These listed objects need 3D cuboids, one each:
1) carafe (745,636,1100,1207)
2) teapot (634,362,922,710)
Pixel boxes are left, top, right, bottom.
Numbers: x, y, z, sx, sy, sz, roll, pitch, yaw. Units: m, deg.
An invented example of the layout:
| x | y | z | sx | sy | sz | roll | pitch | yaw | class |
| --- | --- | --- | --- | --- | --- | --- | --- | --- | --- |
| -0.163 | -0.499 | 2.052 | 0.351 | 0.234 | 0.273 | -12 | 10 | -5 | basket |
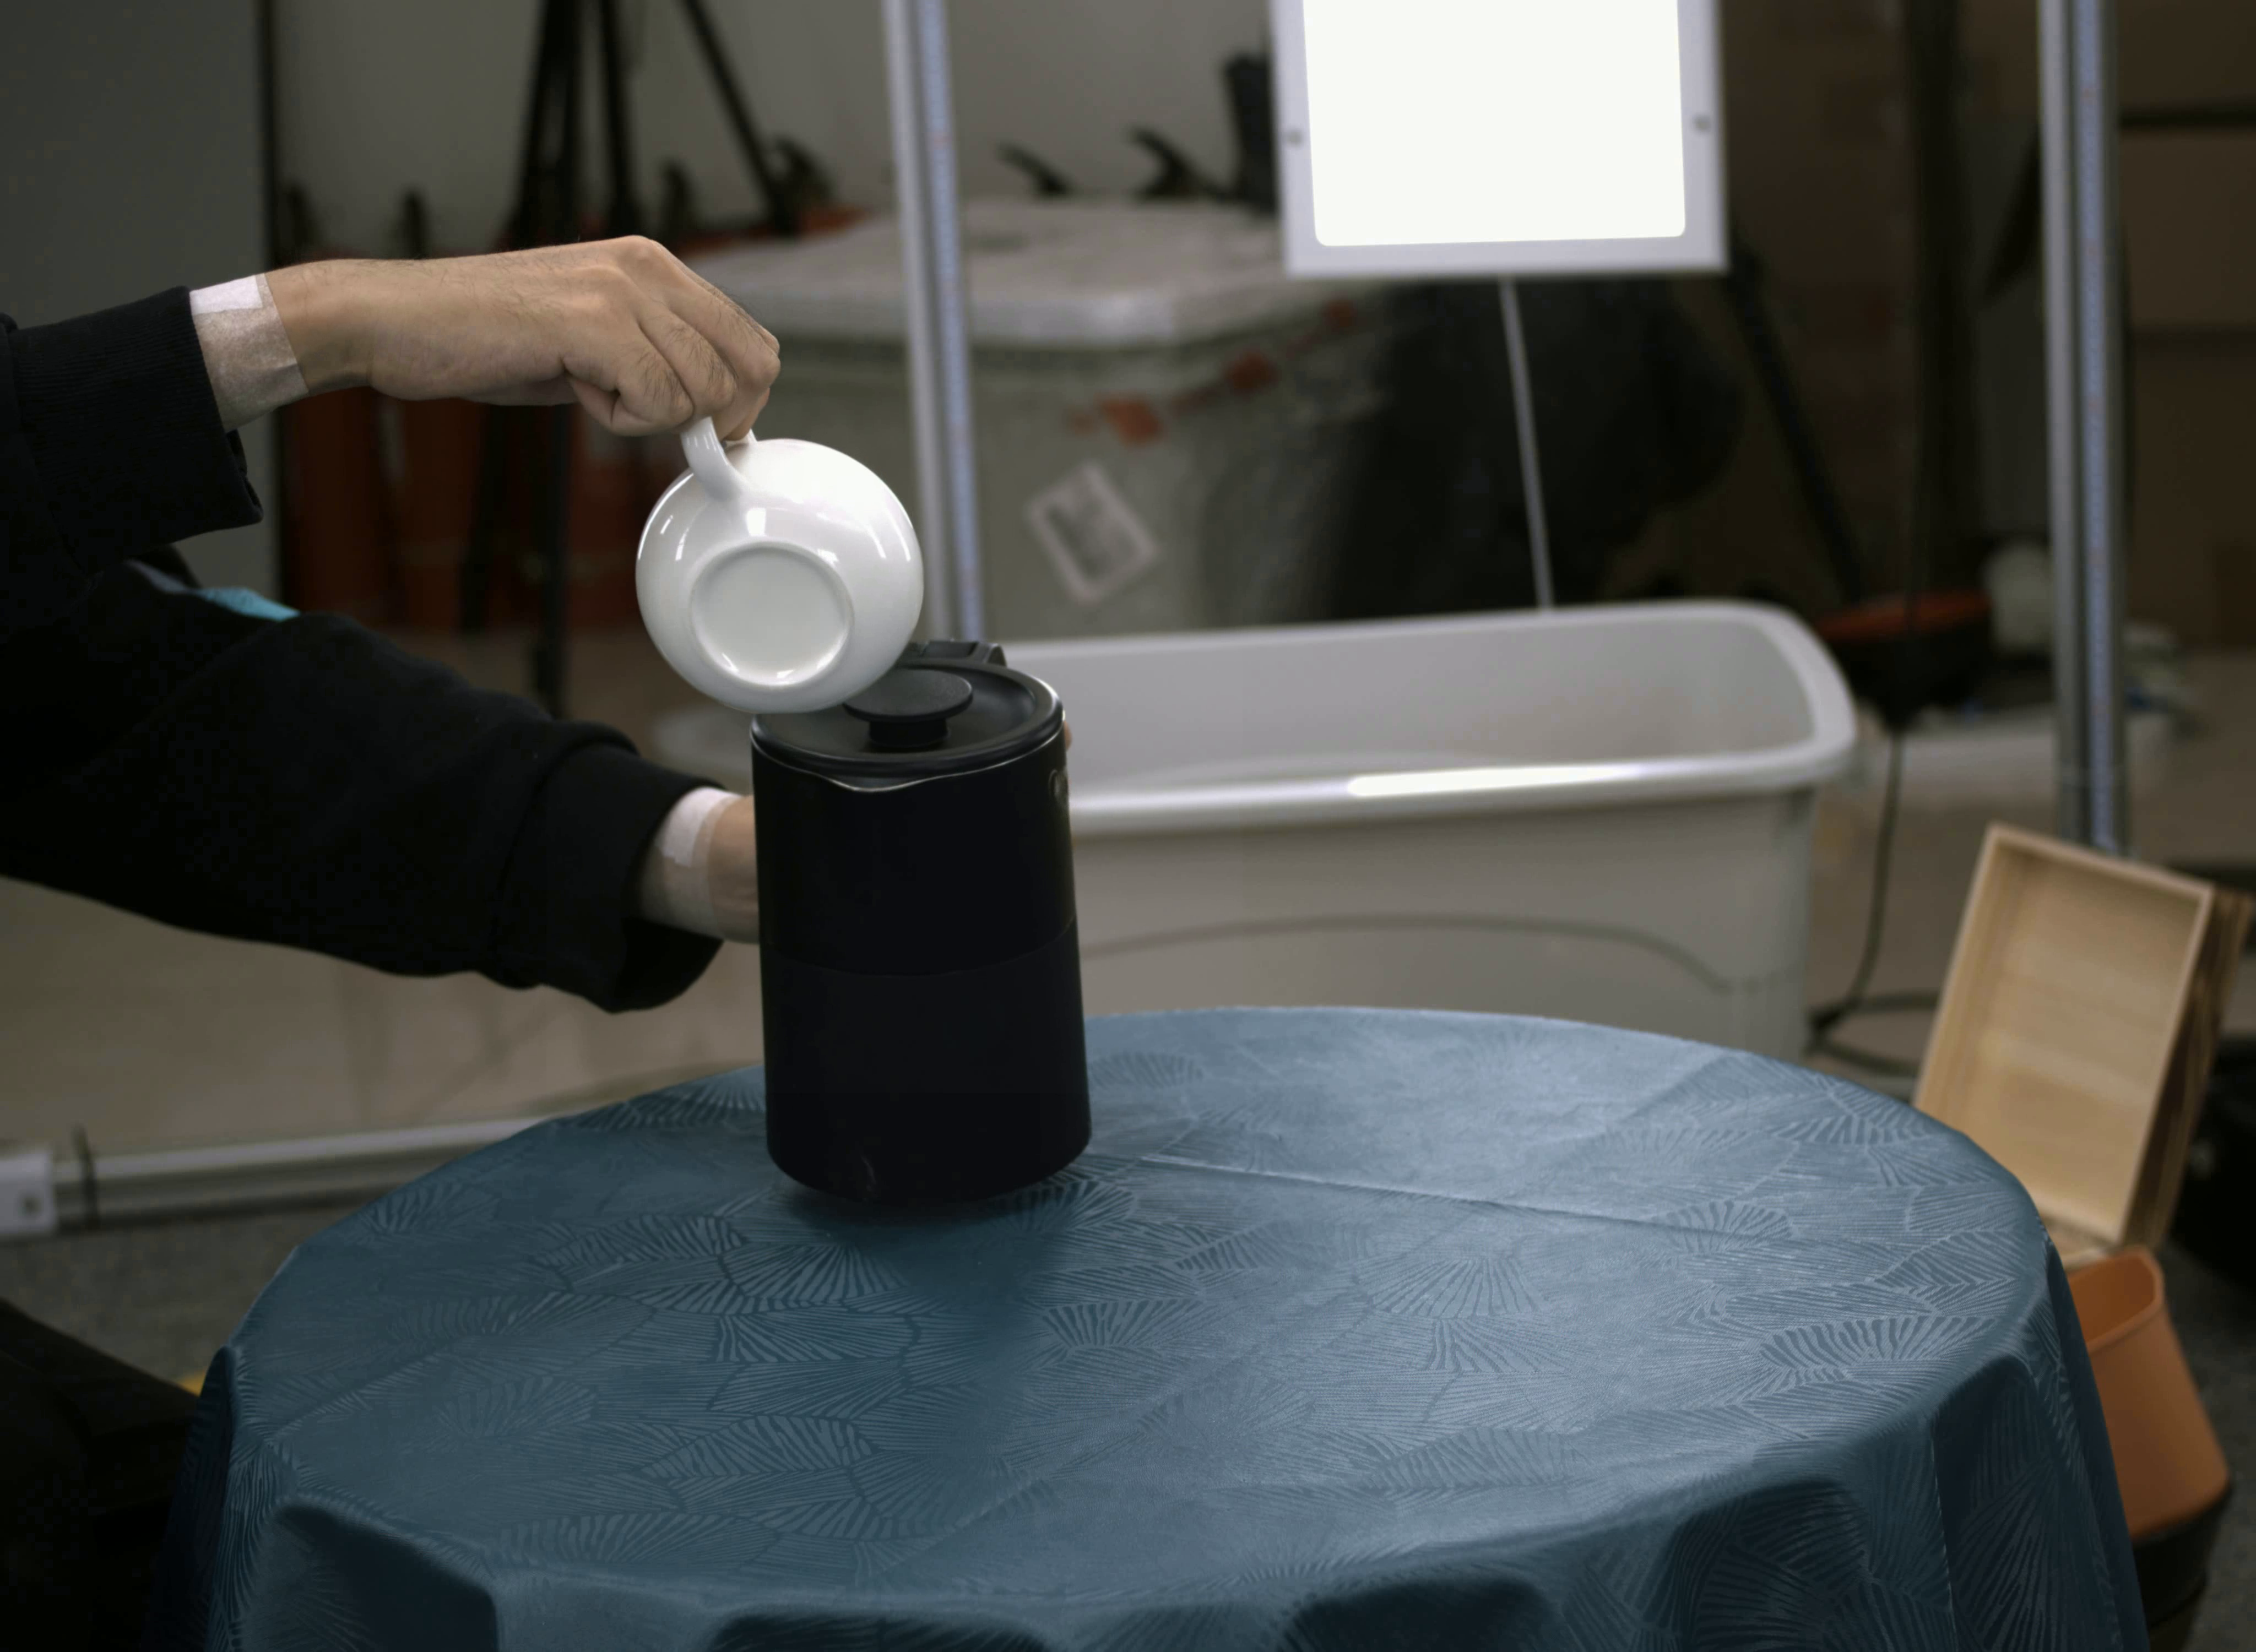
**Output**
| x | y | z | sx | sy | sz | roll | pitch | yaw | class |
| --- | --- | --- | --- | --- | --- | --- | --- | --- | --- |
| -0.069 | 0.023 | 1.913 | 0.115 | 0.174 | 0.170 | -1 | 24 | 10 | carafe |
| -0.116 | -0.092 | 1.773 | 0.094 | 0.127 | 0.056 | -11 | 26 | 12 | teapot |
